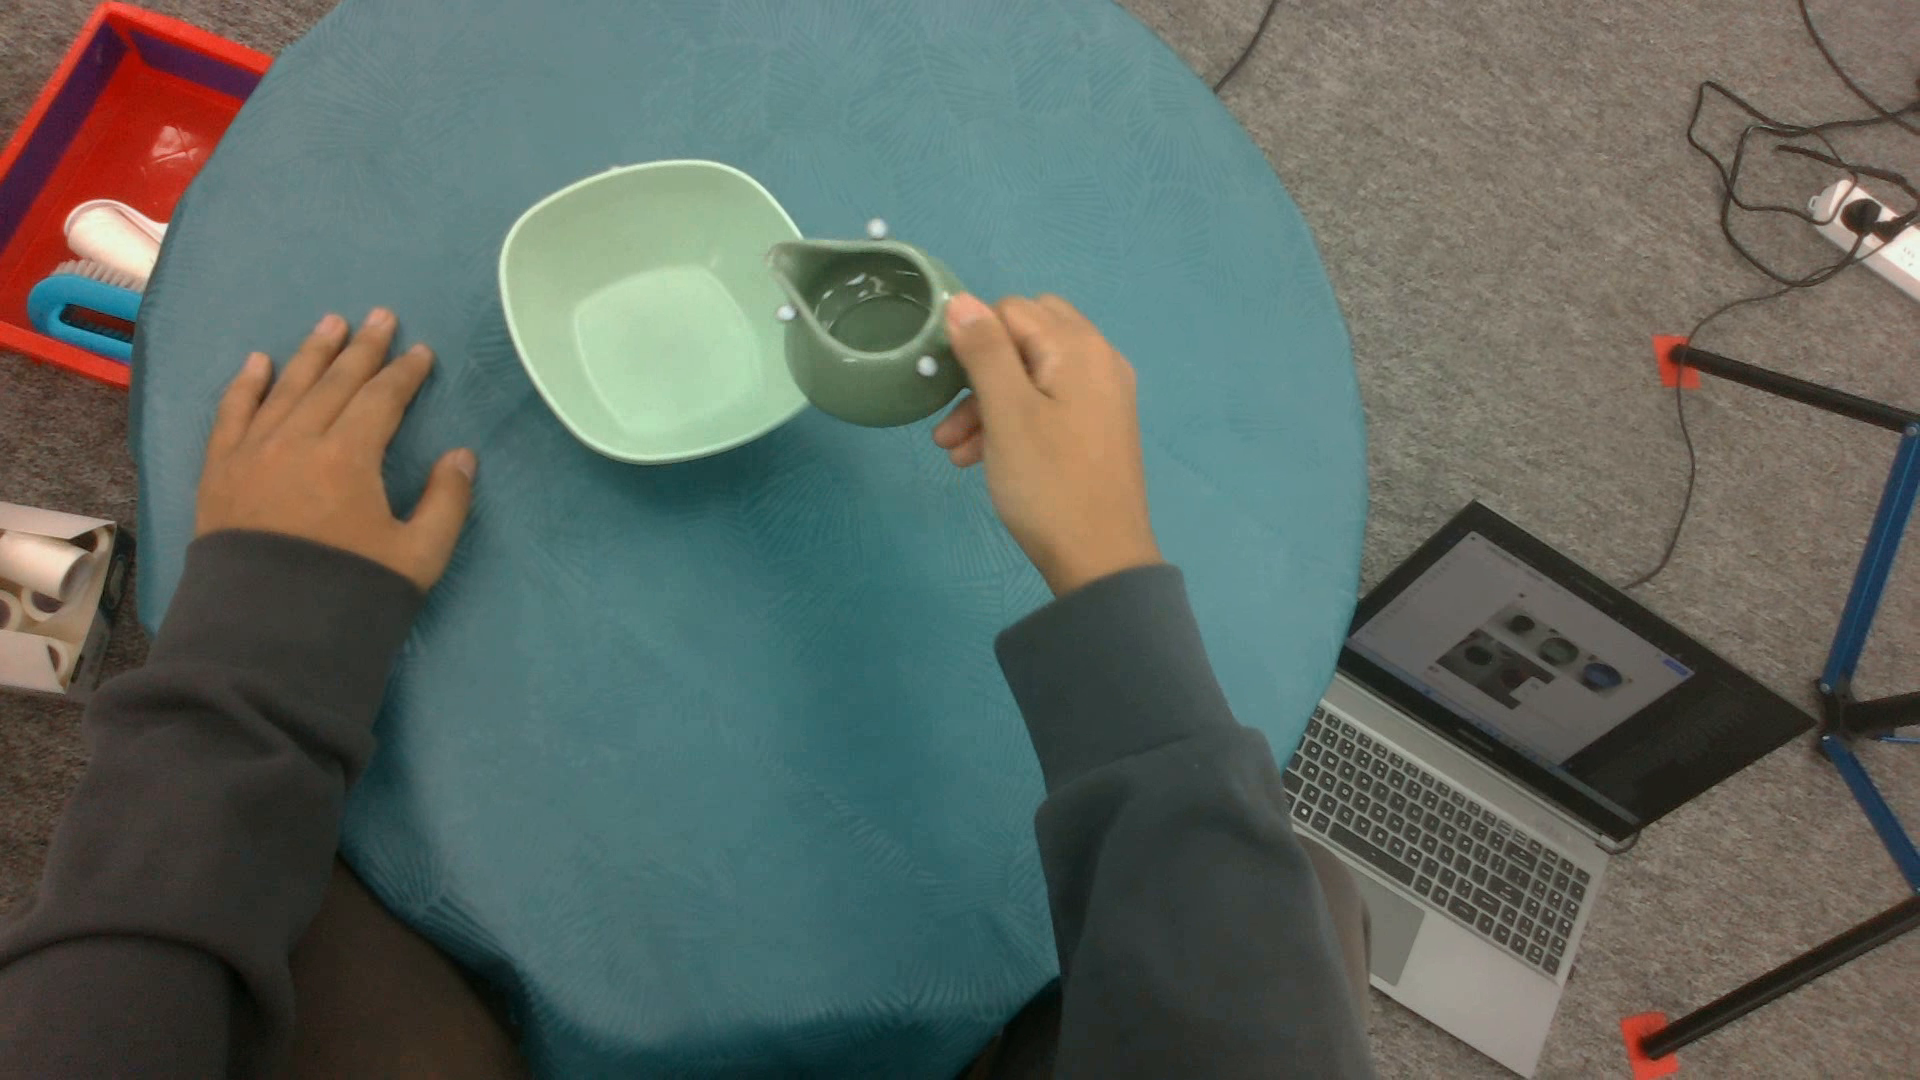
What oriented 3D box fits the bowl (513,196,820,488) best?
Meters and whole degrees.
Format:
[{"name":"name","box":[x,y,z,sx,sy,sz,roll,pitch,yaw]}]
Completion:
[{"name":"bowl","box":[-0.134,-0.086,0.655,0.151,0.058,0.152,4,71,-13]}]

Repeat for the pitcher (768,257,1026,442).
[{"name":"pitcher","box":[-0.026,-0.083,0.588,0.112,0.056,0.084,19,72,9]}]
